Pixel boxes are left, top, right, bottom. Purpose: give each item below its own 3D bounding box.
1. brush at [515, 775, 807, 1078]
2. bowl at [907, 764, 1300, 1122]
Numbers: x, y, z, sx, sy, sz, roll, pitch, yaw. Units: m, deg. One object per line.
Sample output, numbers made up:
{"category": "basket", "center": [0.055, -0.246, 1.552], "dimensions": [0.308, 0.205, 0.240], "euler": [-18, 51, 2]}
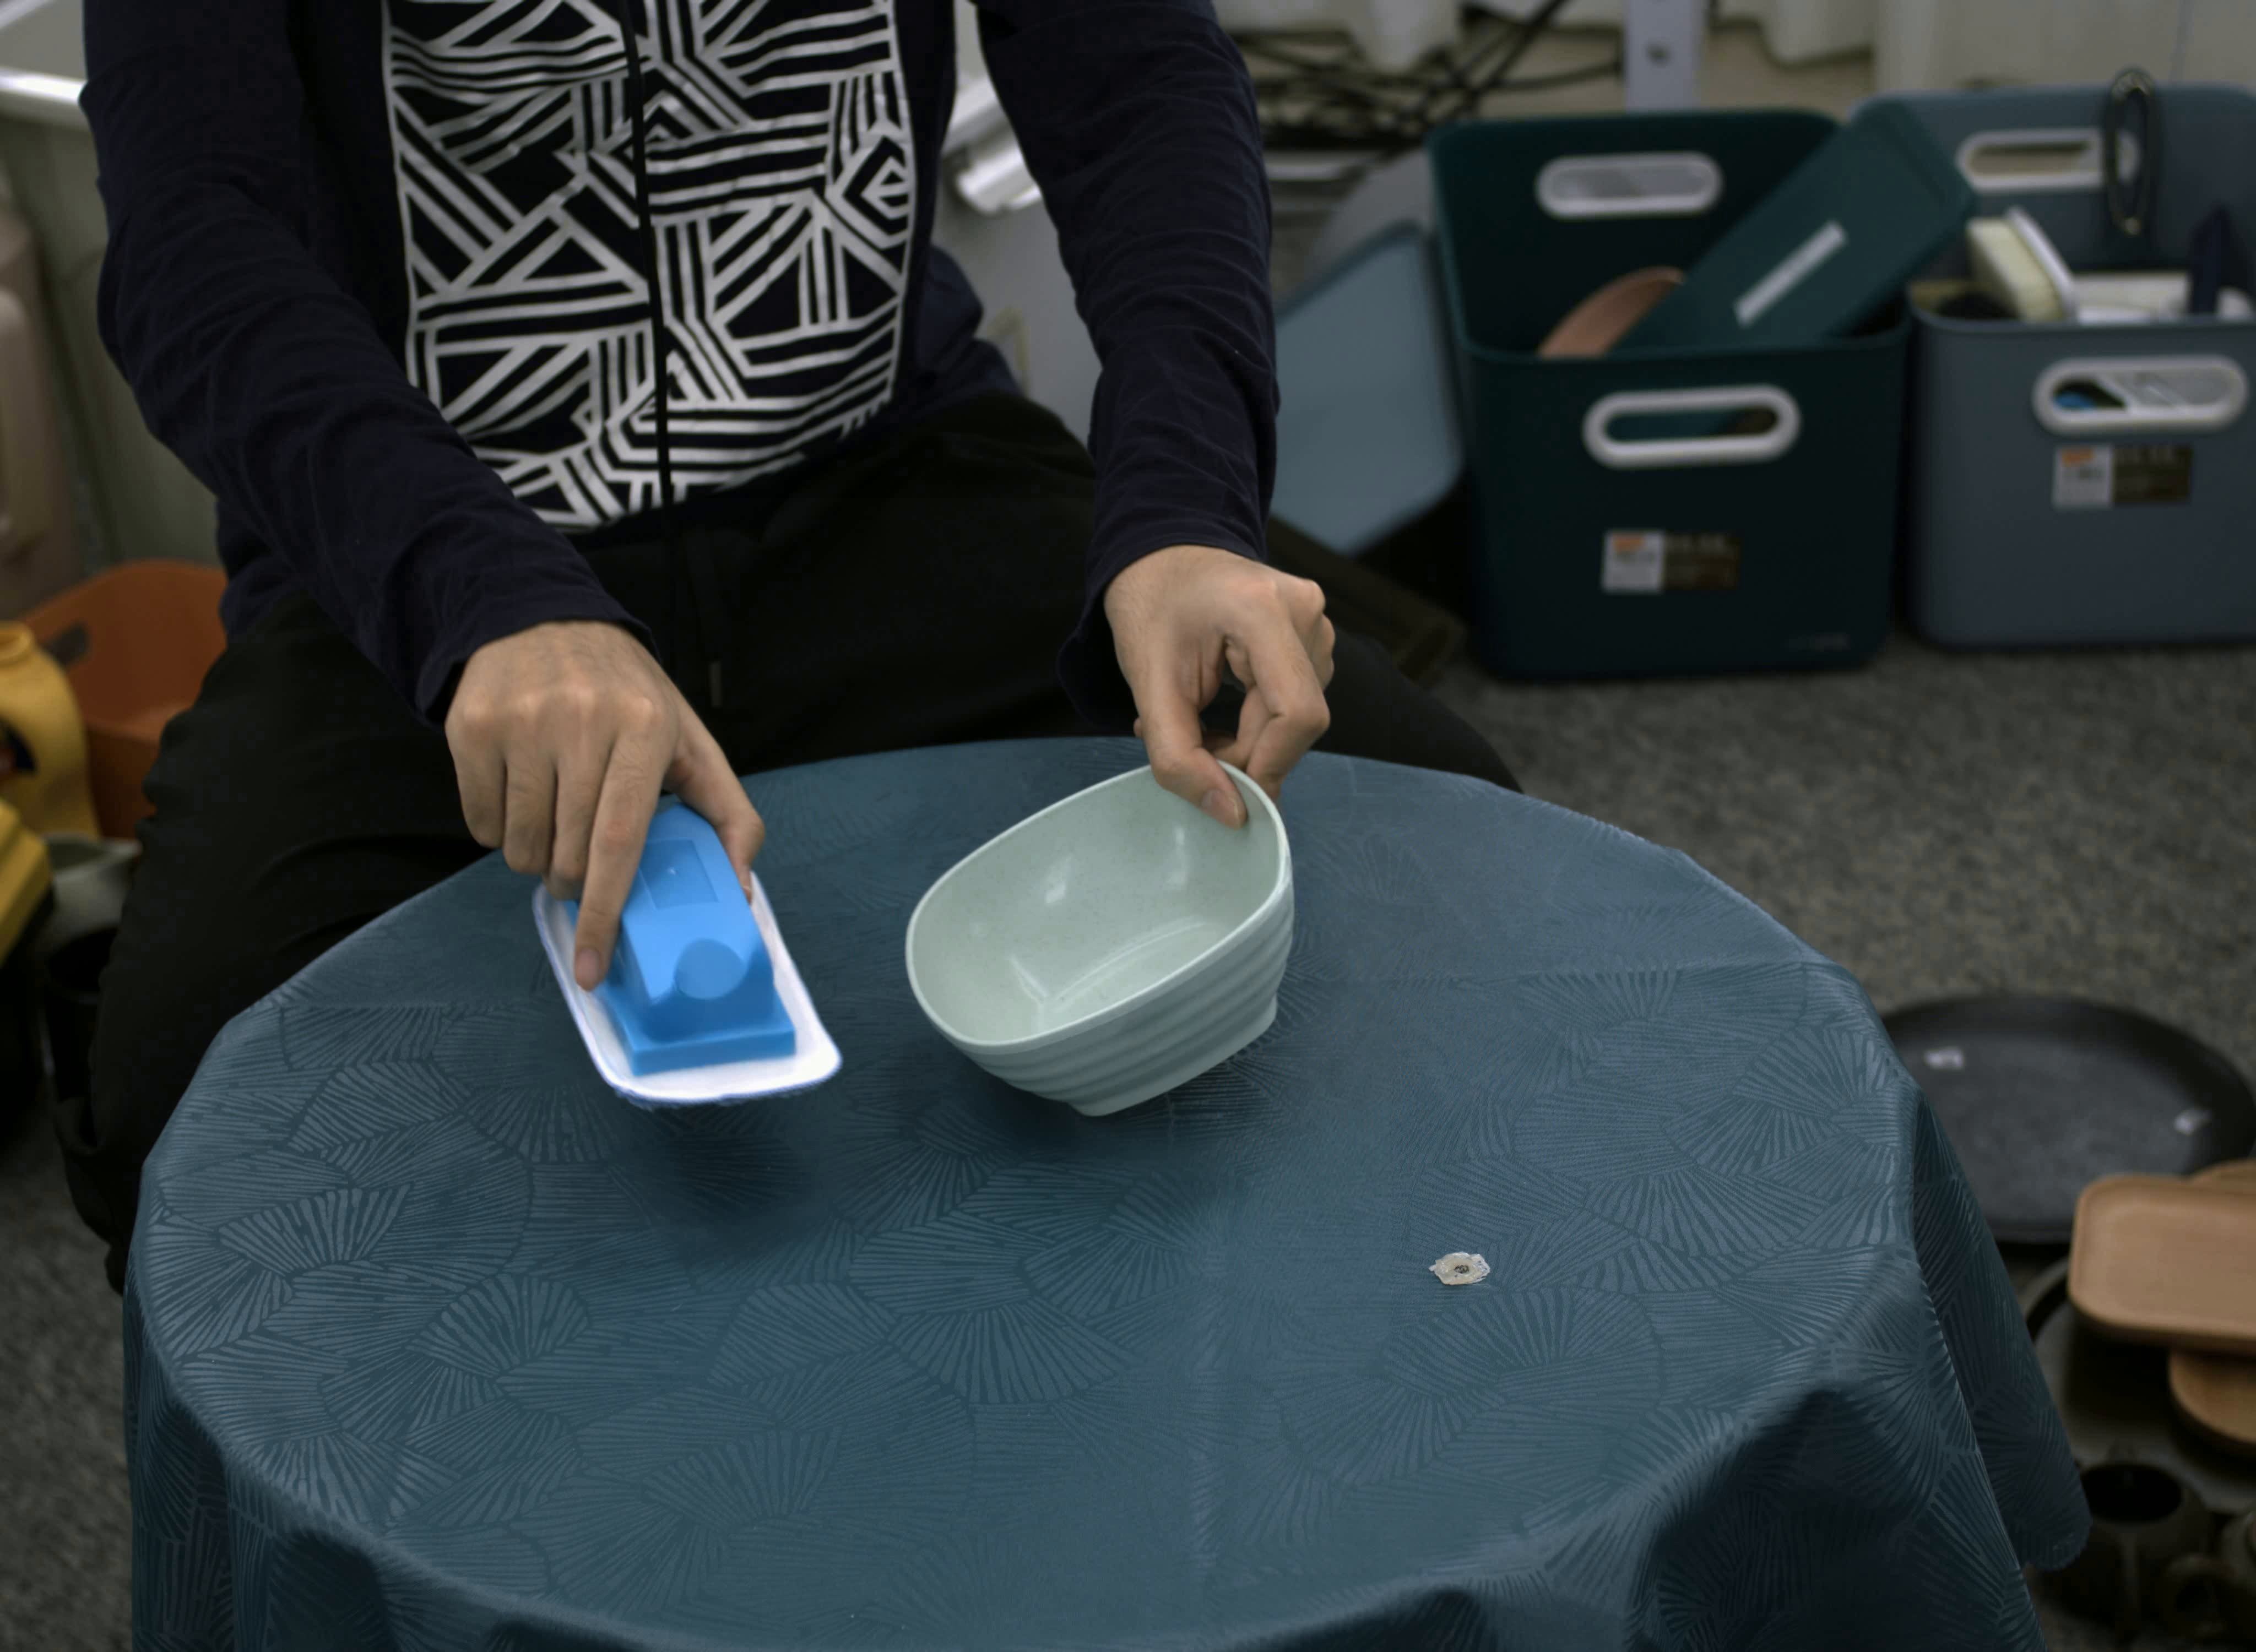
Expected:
{"category": "brush", "center": [-0.154, 0.029, 1.881], "dimensions": [0.084, 0.055, 0.146], "euler": [-1, 32, -17]}
{"category": "bowl", "center": [0.000, 0.048, 1.916], "dimensions": [0.150, 0.058, 0.154], "euler": [-19, 30, 12]}
